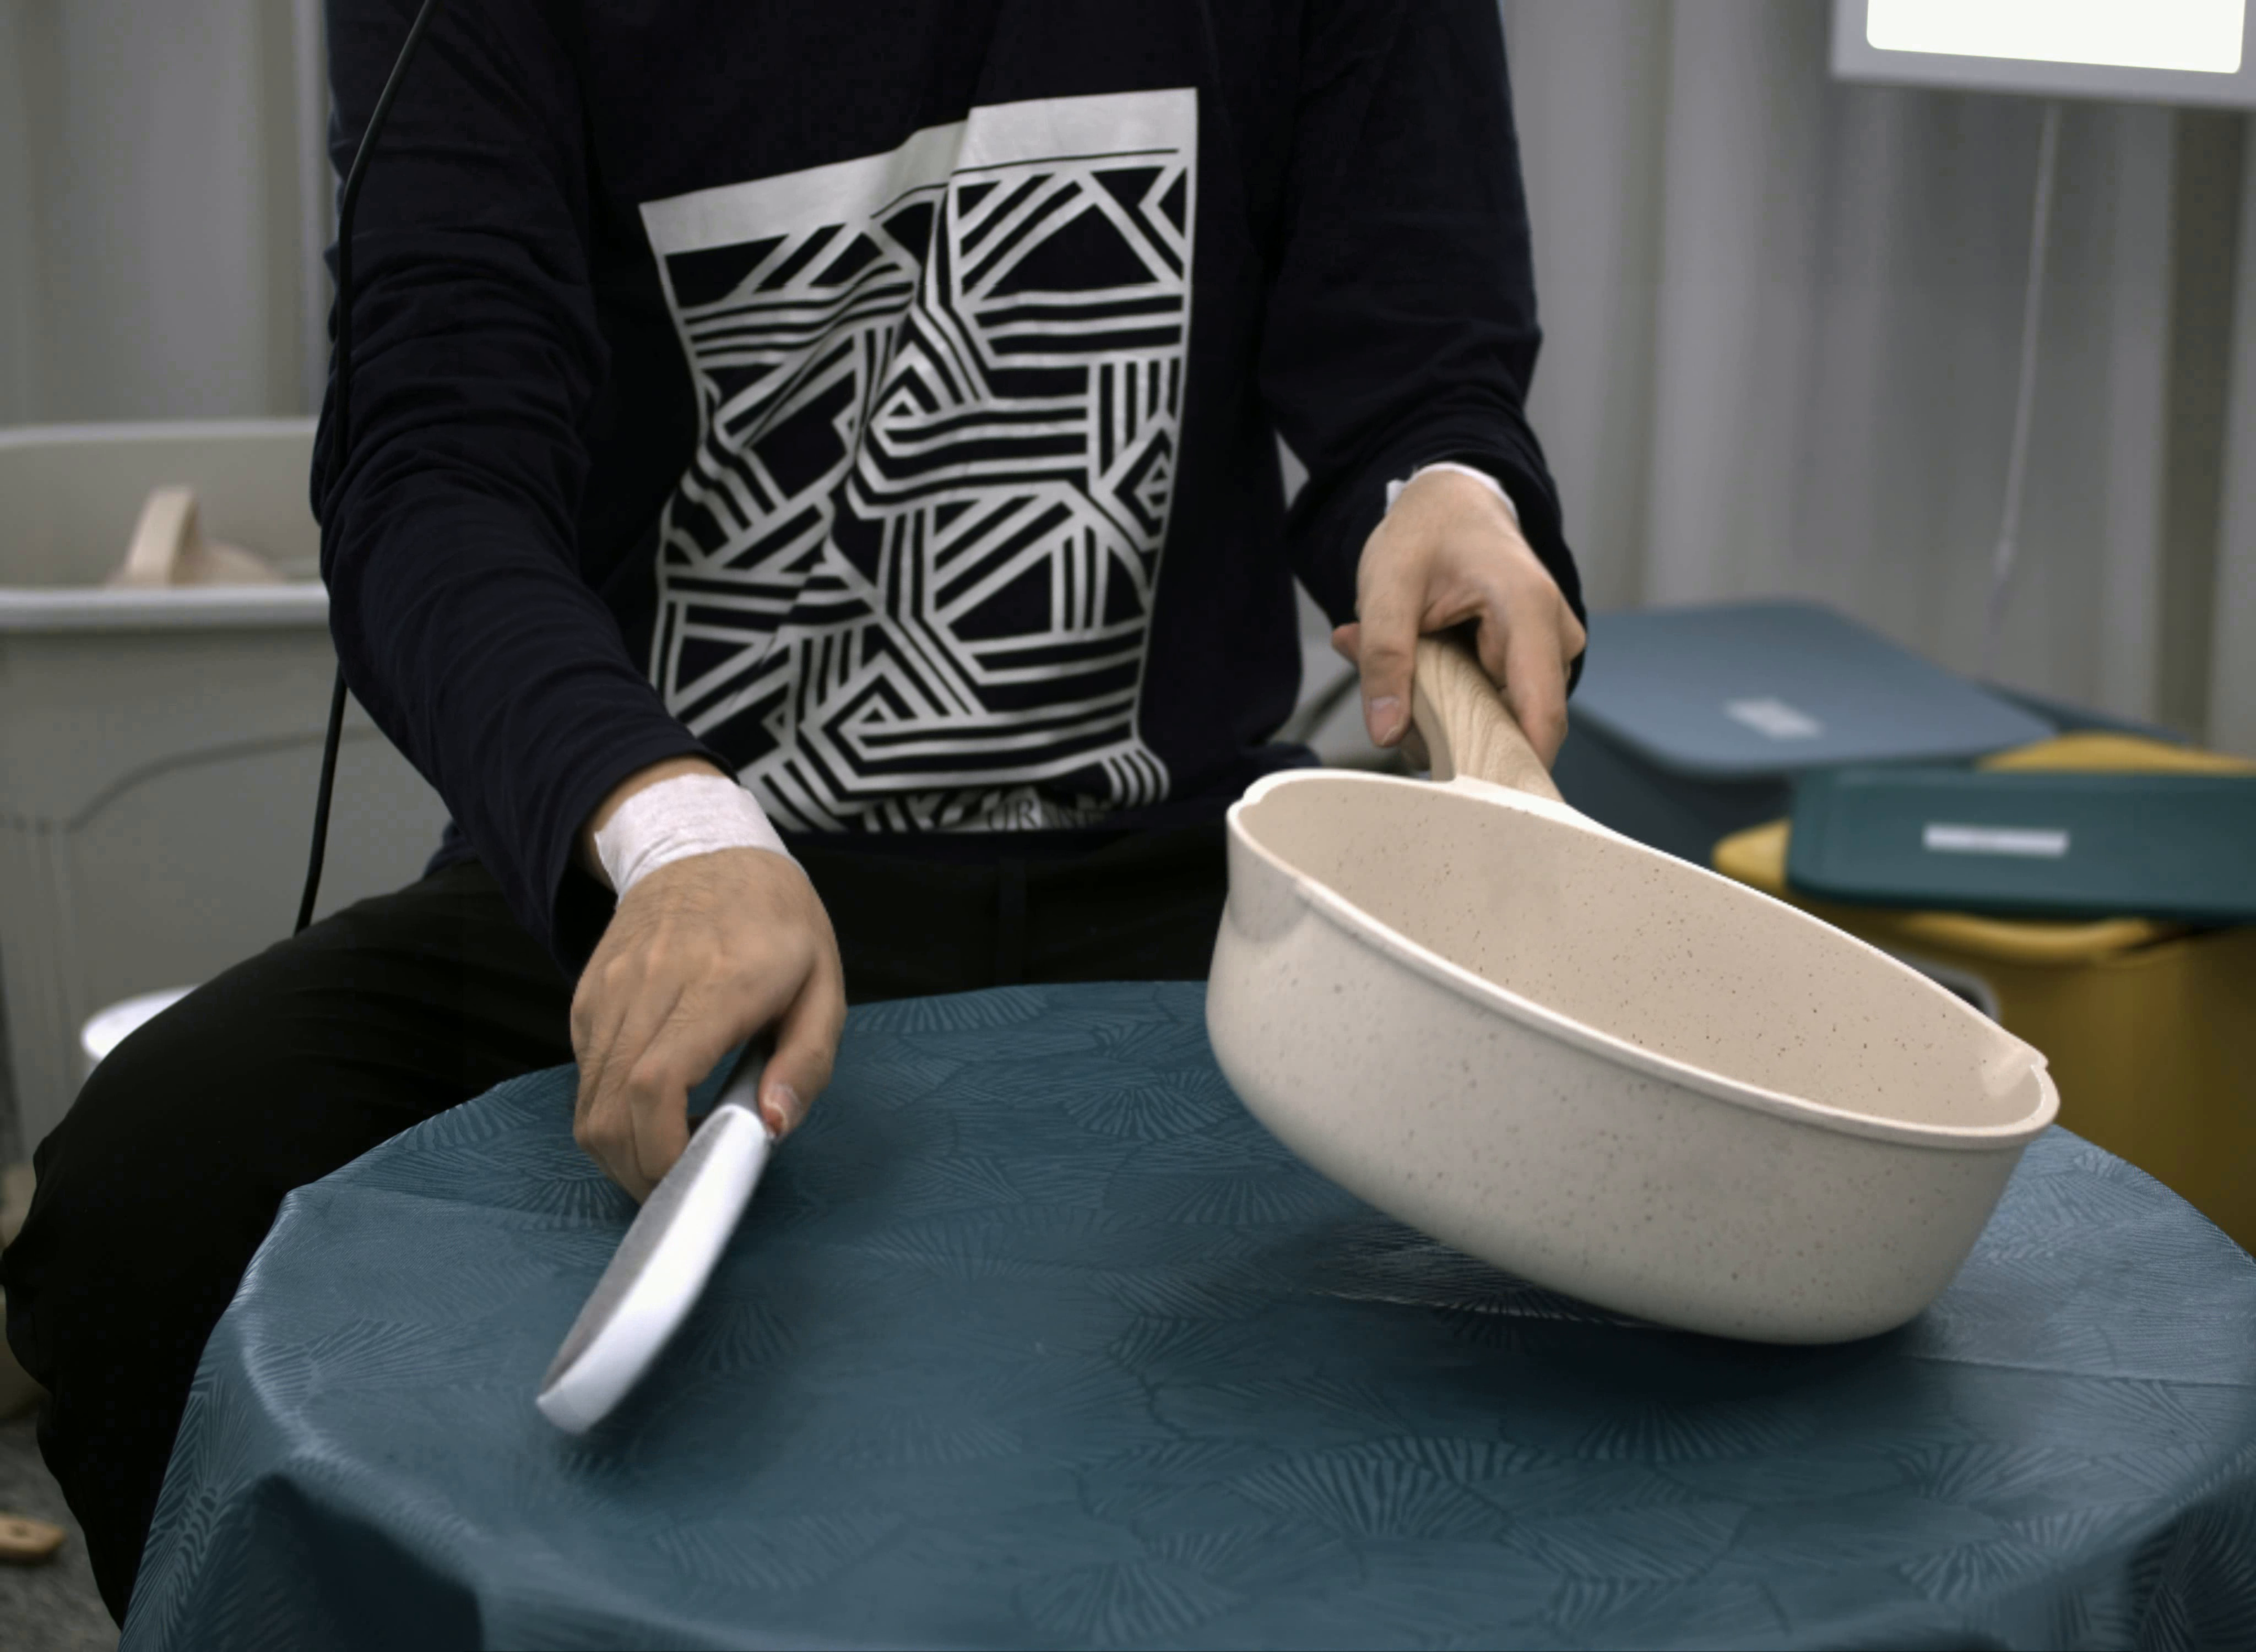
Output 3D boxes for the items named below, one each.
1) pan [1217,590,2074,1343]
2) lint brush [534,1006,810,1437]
[{"bbox_3d":[0.123,0.036,1.609,0.264,0.102,0.430,12,15,-17],"label":"pan"},{"bbox_3d":[-0.125,0.105,1.532,0.021,0.060,0.308,39,15,-6],"label":"lint brush"}]
